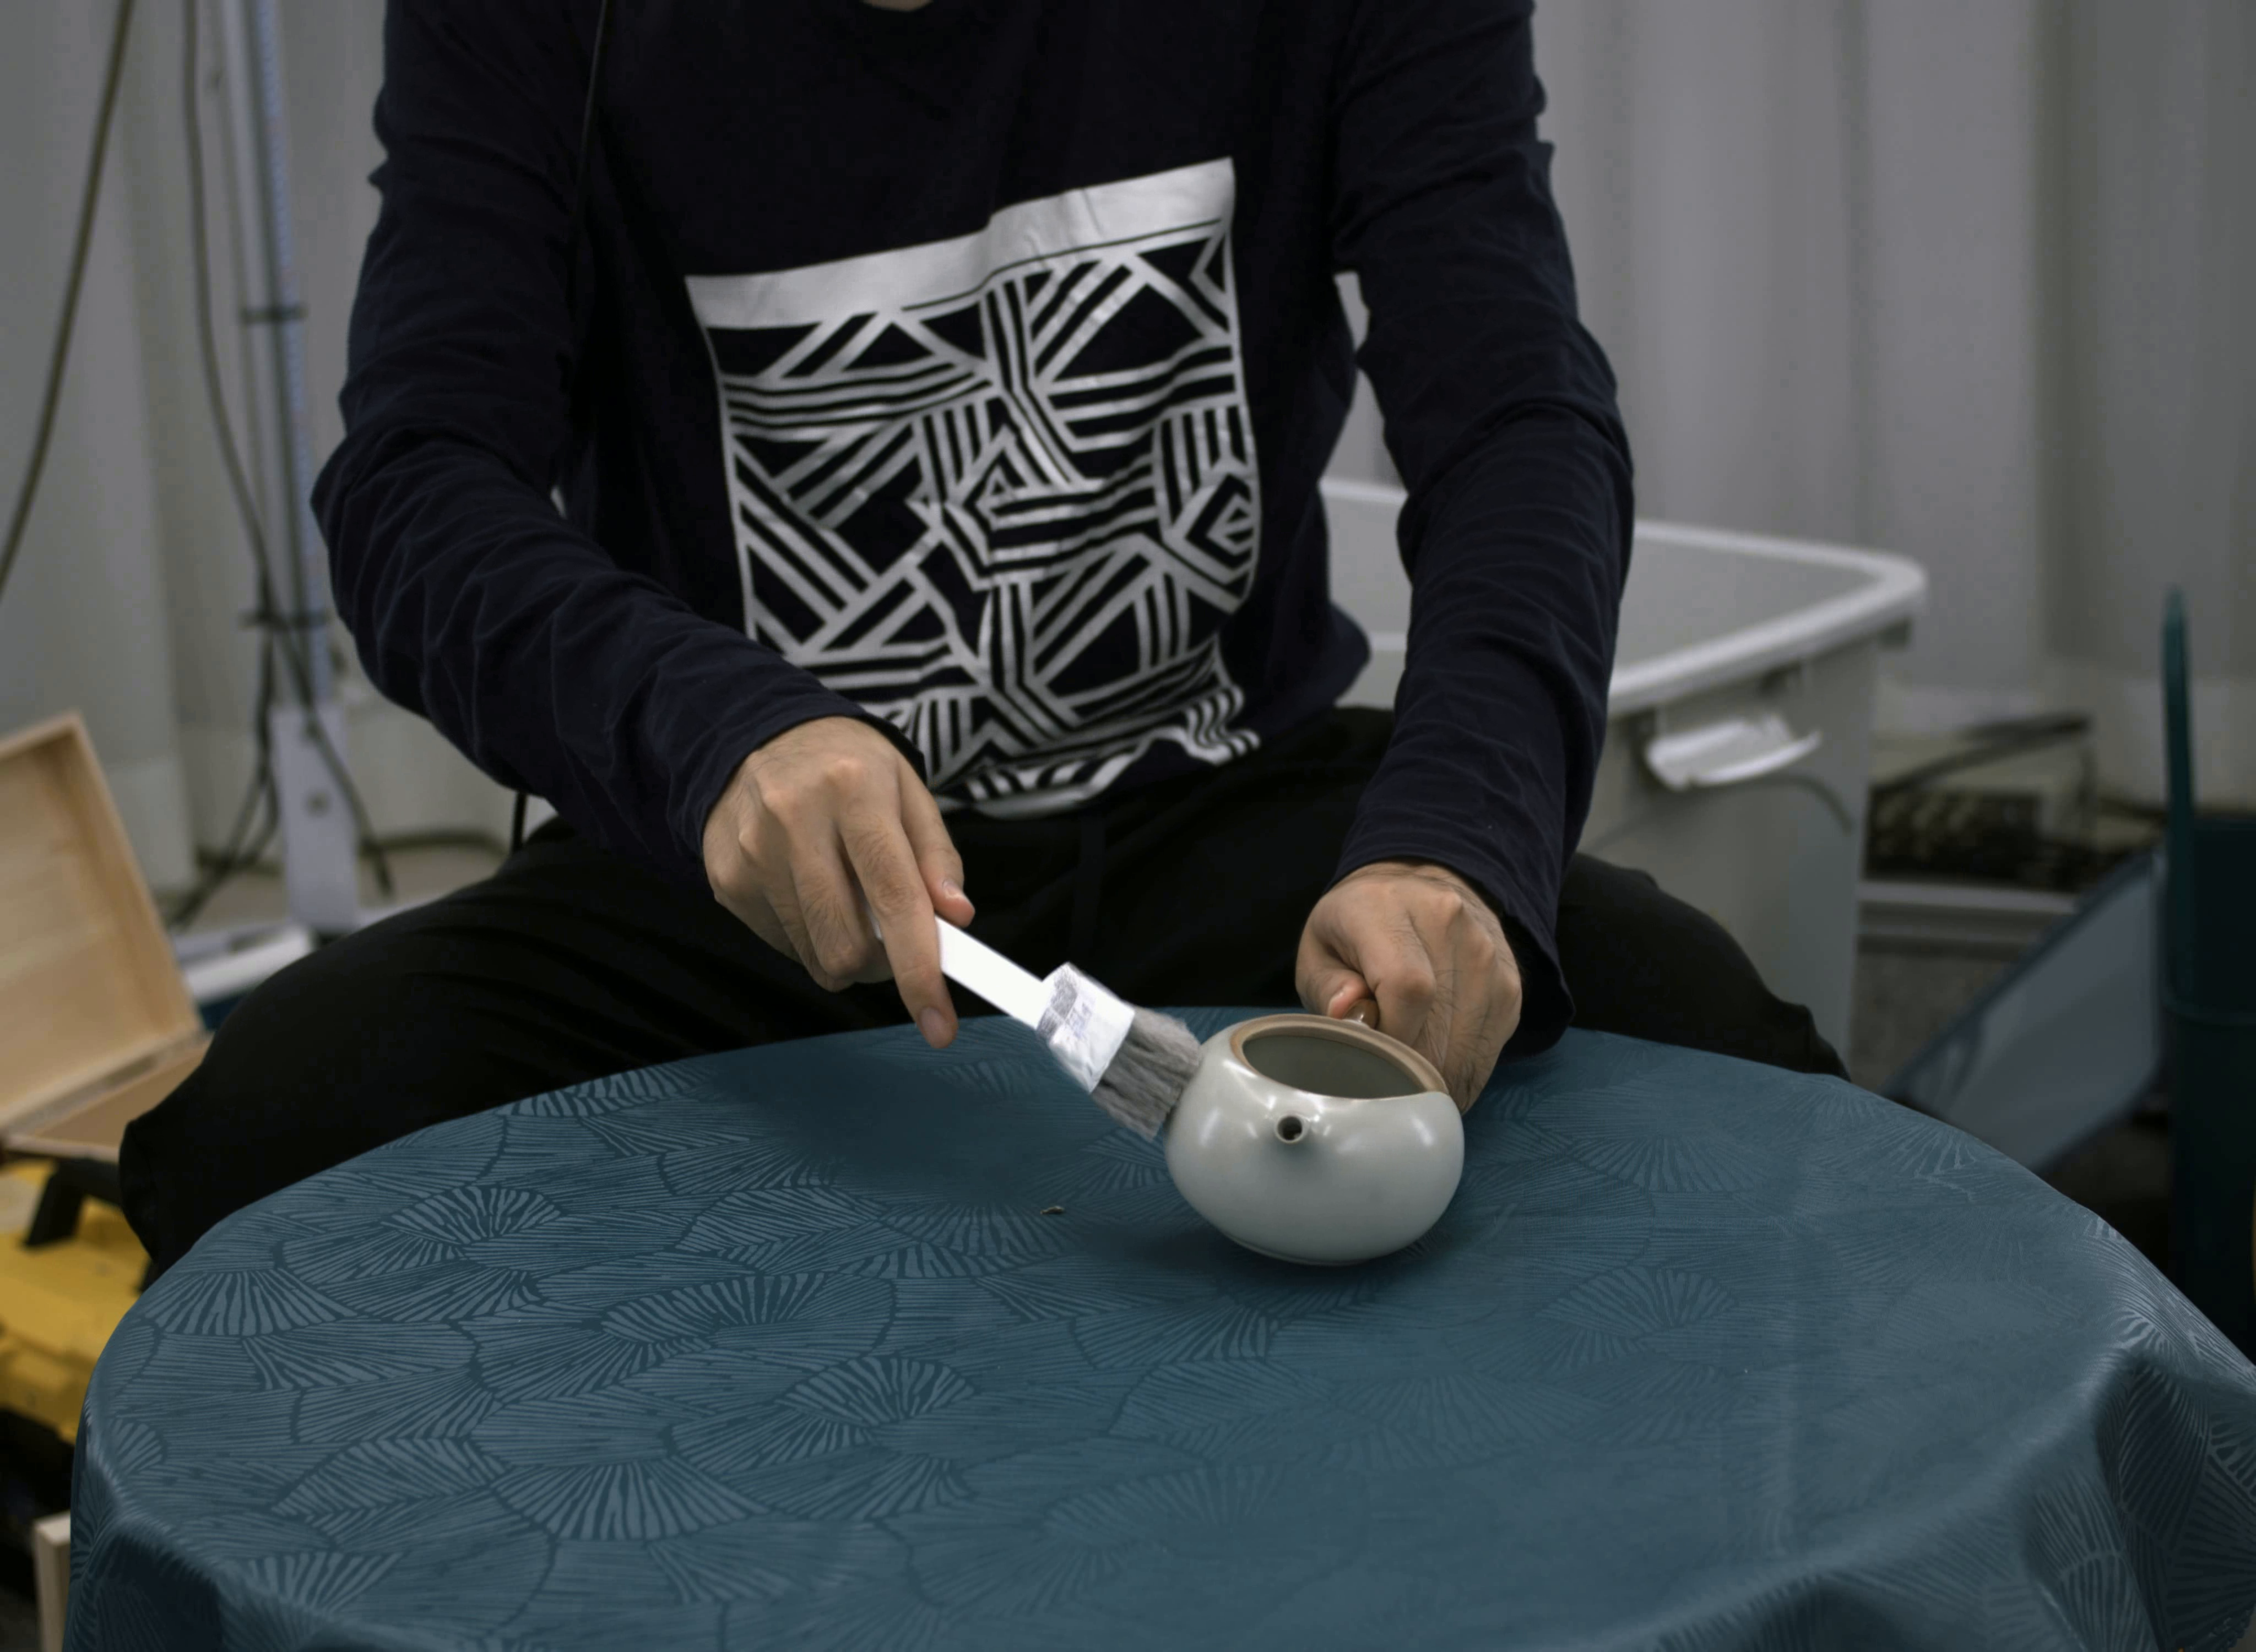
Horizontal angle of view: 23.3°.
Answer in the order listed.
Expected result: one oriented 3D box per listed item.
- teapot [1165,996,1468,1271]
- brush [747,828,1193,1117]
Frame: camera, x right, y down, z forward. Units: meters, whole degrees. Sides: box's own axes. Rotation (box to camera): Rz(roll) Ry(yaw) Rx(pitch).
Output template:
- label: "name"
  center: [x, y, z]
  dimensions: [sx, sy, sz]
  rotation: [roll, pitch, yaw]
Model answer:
- label: "teapot"
  center: [0.059, 0.092, 1.655]
  dimensions: [0.092, 0.059, 0.129]
  rotation: [11, 22, 10]
- label: "brush"
  center: [-0.050, 0.044, 1.733]
  dimensions: [0.050, 0.034, 0.245]
  rotation: [26, 0, -32]
